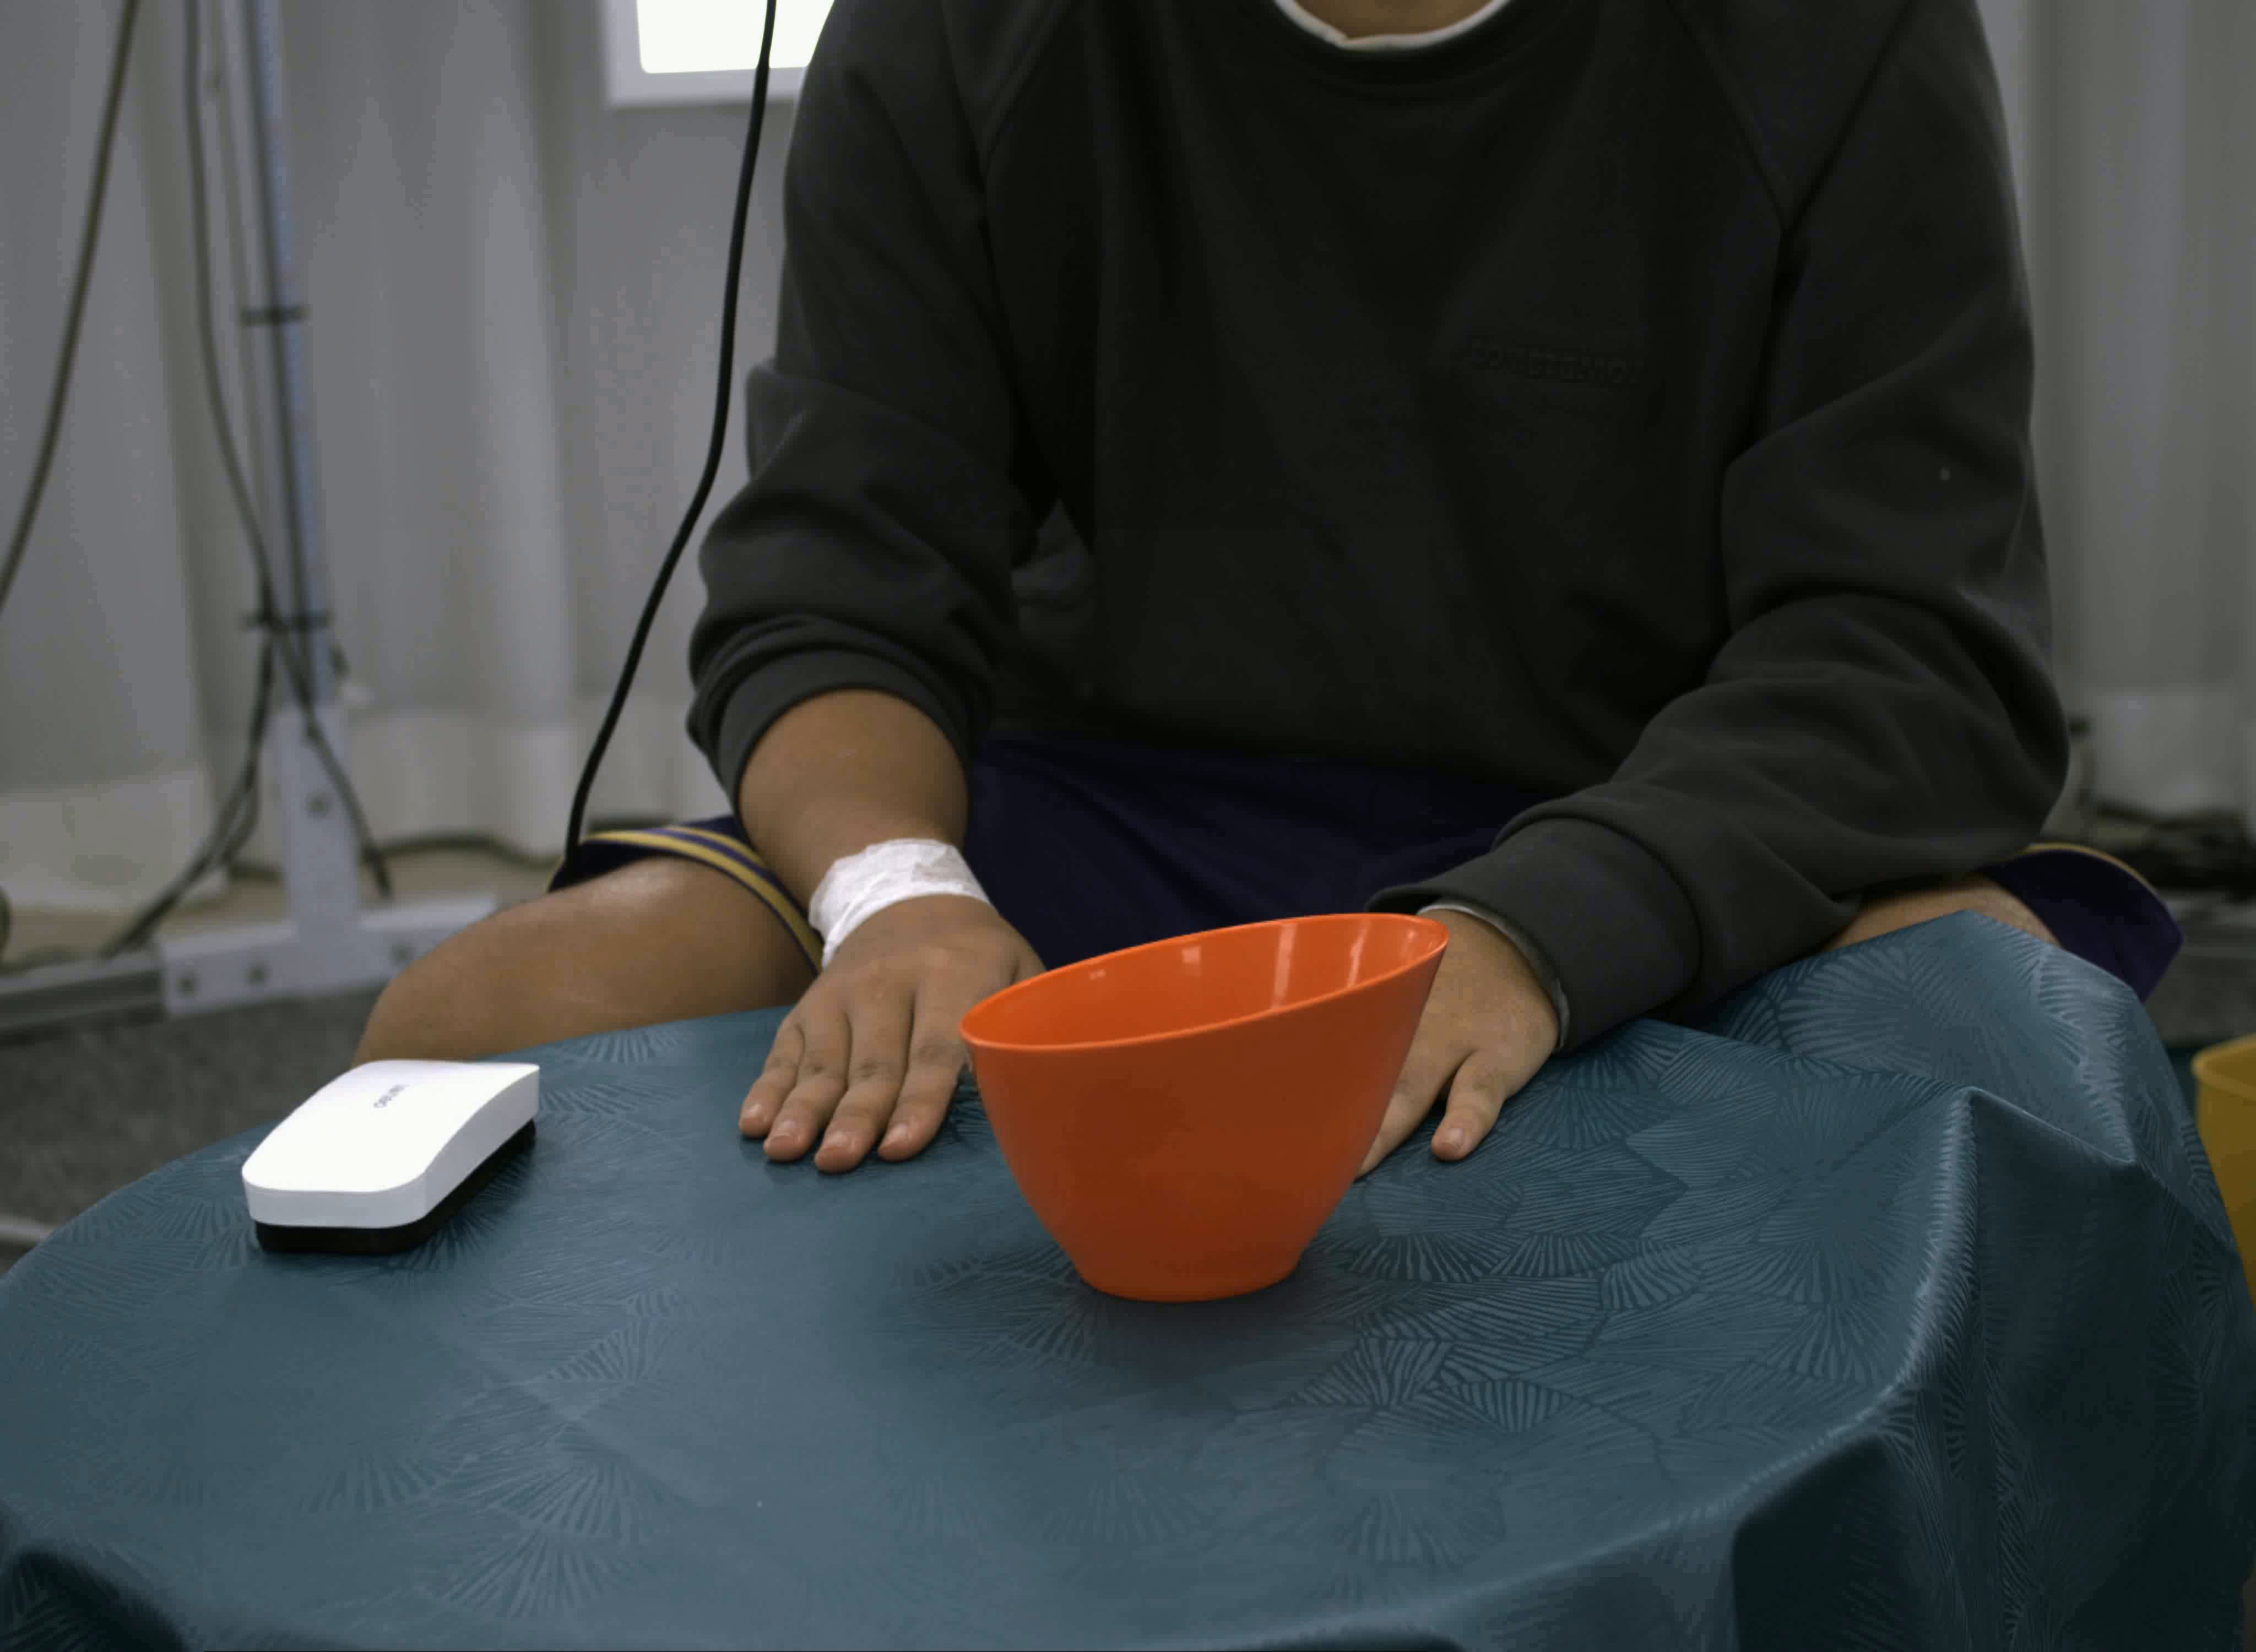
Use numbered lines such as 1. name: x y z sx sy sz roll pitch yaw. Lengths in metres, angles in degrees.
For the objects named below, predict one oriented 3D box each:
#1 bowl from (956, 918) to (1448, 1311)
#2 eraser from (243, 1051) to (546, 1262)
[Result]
1. bowl: 0.024 0.086 1.627 0.147 0.104 0.149 -4 14 1
2. eraser: -0.231 0.101 1.749 0.063 0.034 0.132 2 17 16
